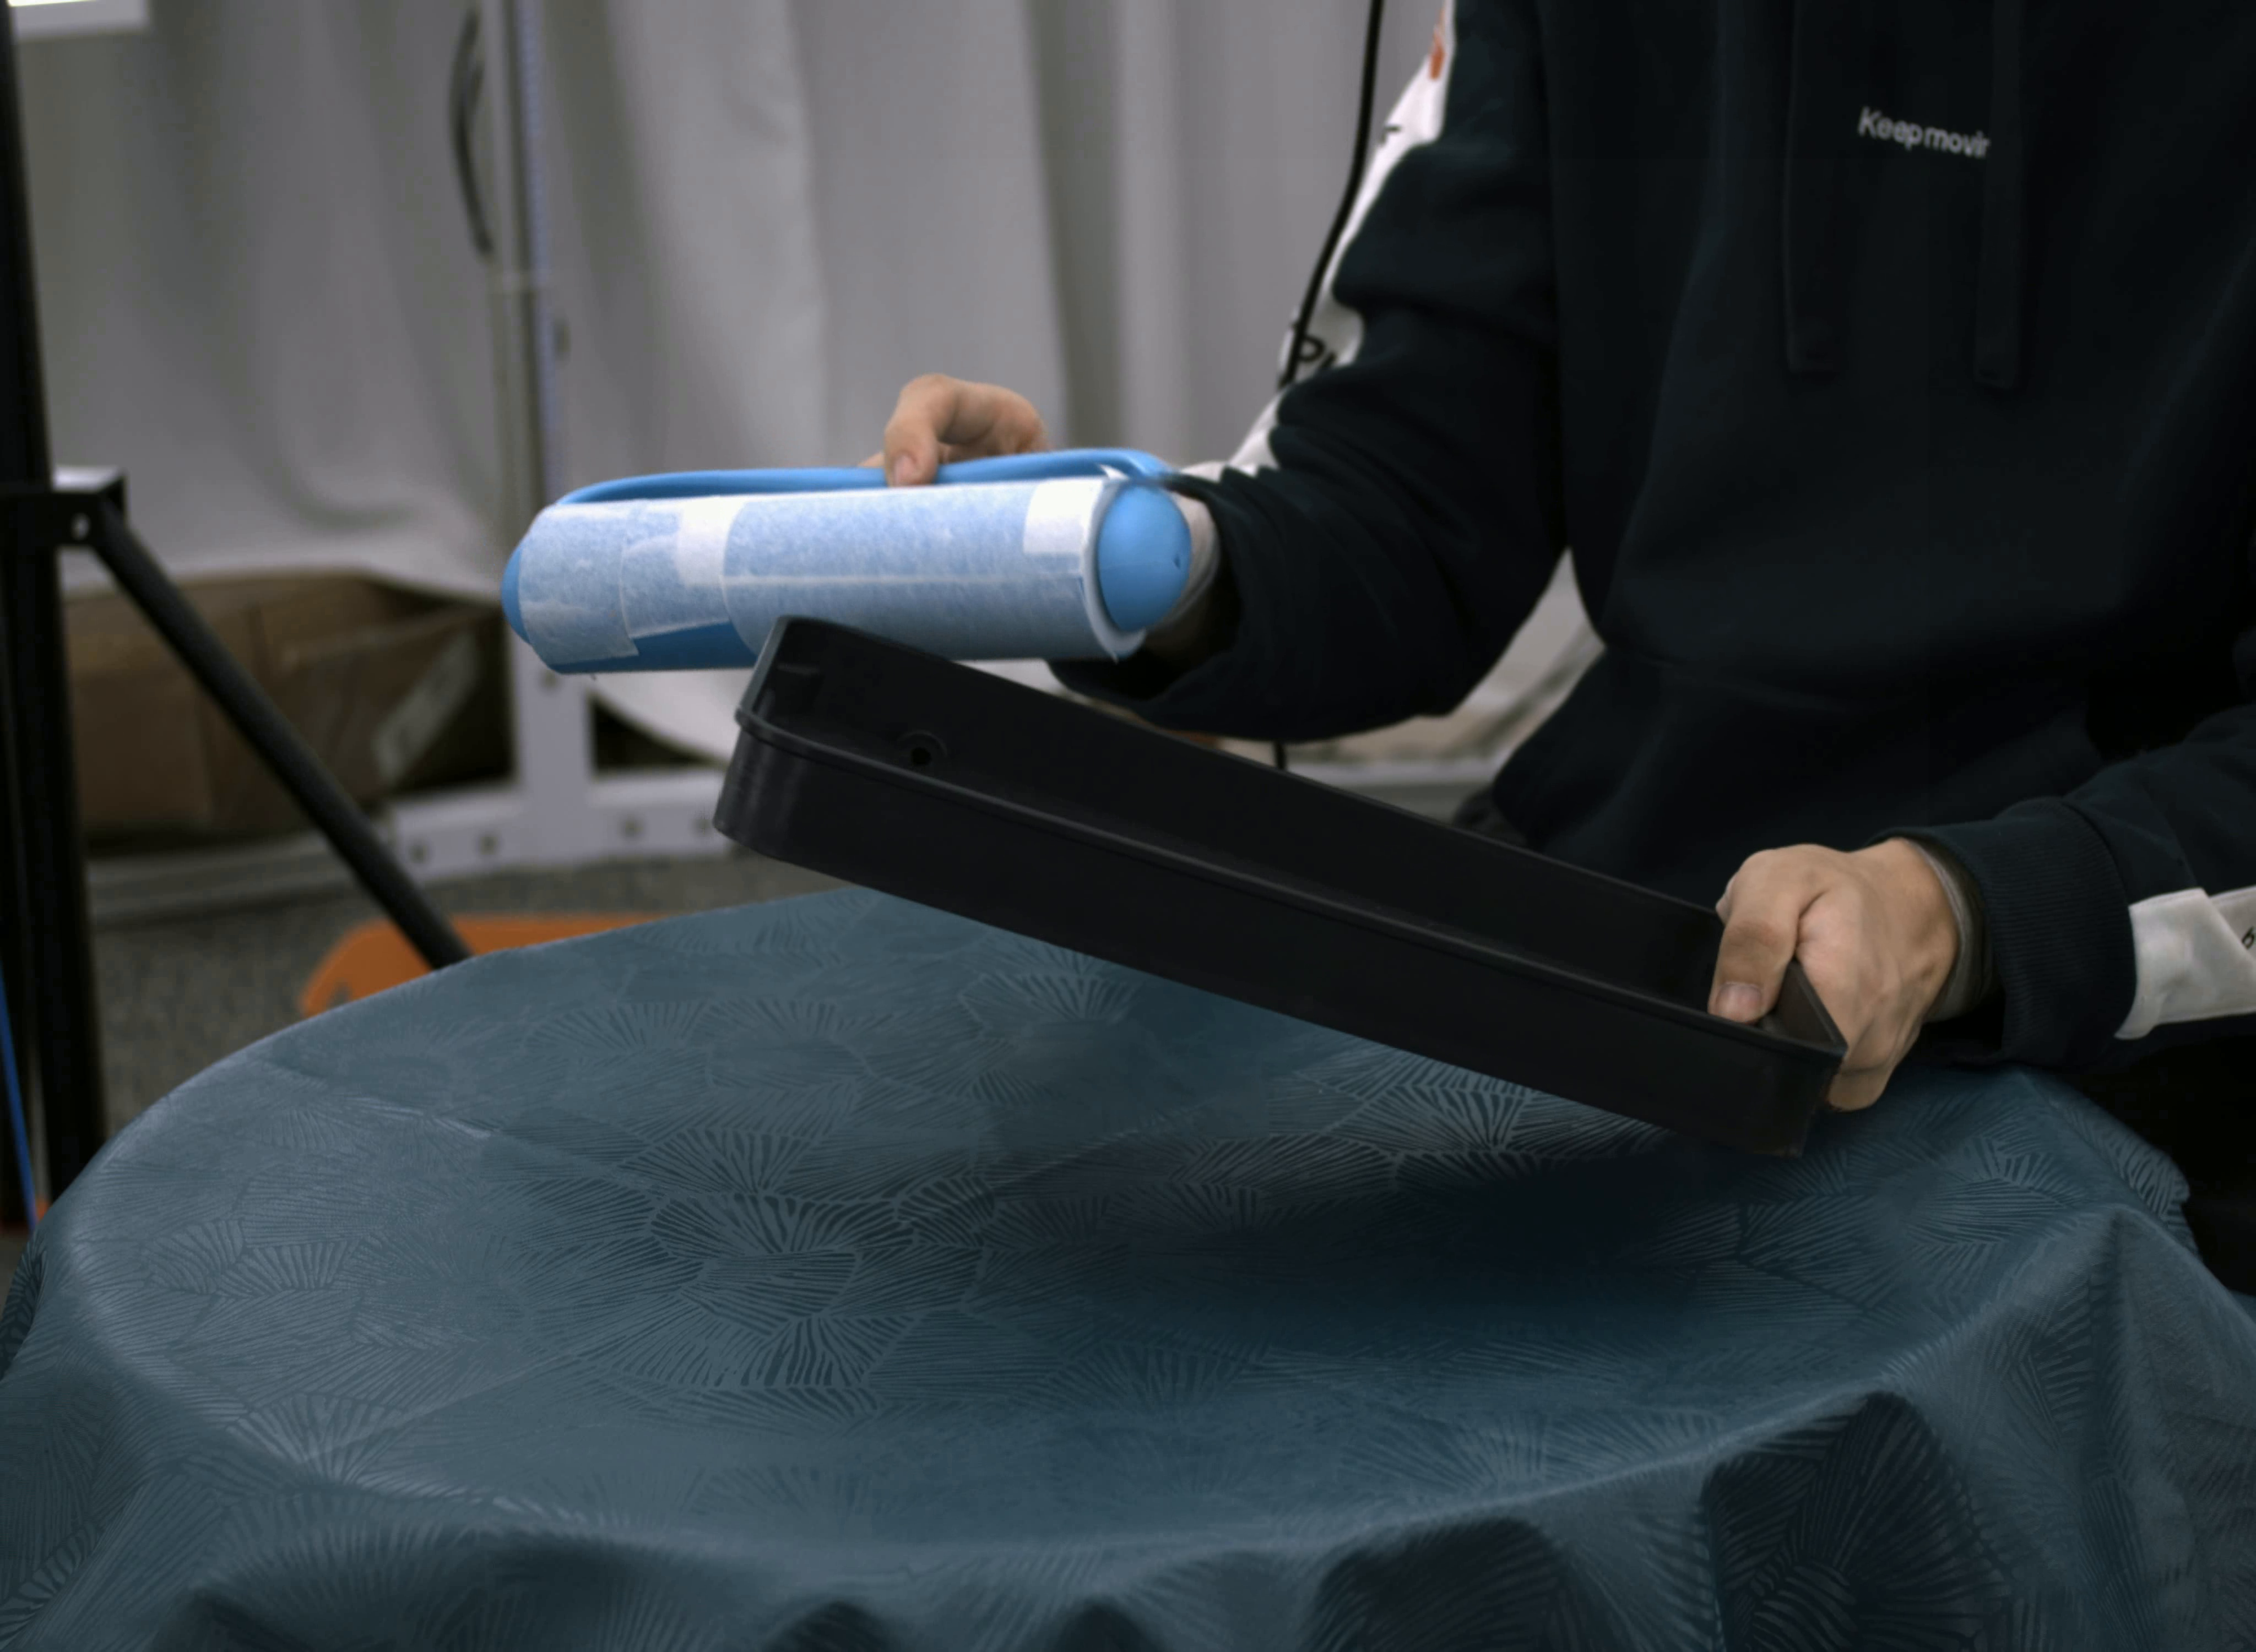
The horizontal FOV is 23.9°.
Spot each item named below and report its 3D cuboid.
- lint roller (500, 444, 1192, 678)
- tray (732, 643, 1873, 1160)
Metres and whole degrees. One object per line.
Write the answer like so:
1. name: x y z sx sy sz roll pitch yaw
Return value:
1. lint roller: -0.066 -0.082 1.668 0.232 0.068 0.177 -4 3 24
2. tray: 0.045 0.019 1.506 0.316 0.037 0.184 16 10 -2
